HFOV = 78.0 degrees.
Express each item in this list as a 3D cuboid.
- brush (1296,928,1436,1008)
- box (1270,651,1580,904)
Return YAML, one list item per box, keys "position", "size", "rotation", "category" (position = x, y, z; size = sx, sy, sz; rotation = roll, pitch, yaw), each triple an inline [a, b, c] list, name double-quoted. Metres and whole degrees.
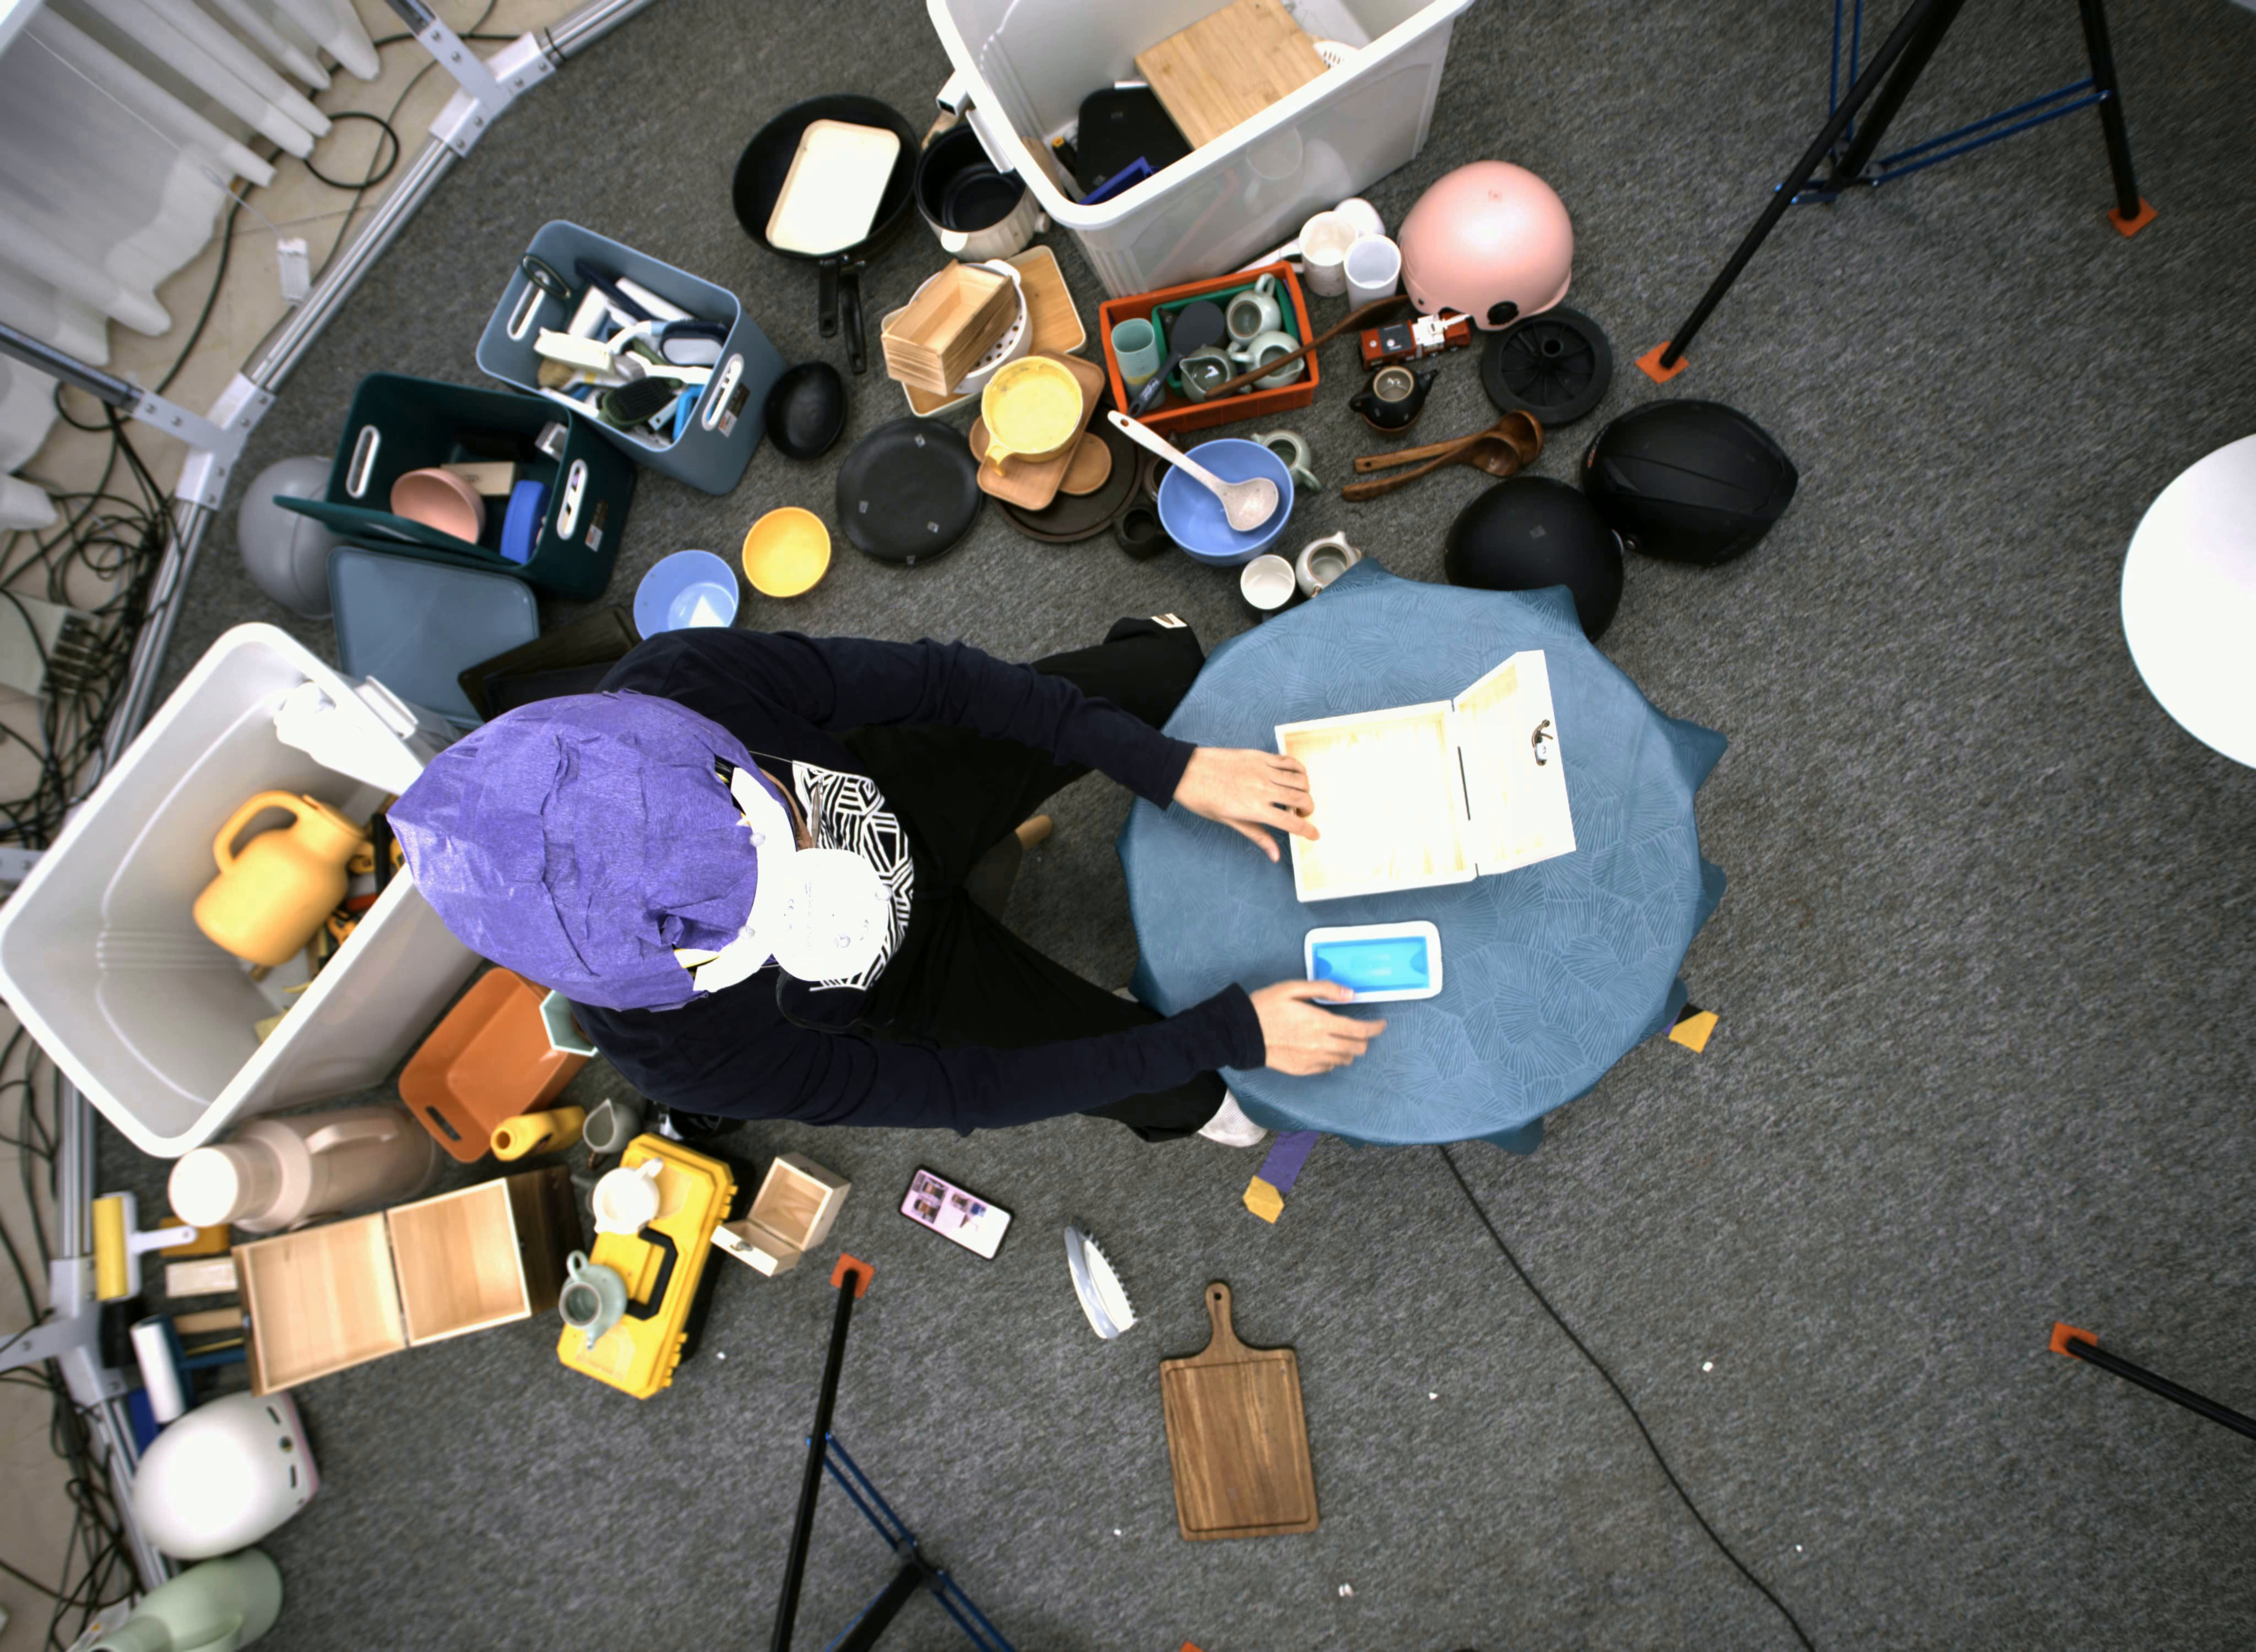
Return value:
- position: [0.246, 0.143, 1.429]
  size: [0.144, 0.056, 0.083]
  rotation: [-3, 82, 8]
  category: "brush"
- position: [0.271, -0.036, 1.334]
  size: [0.266, 0.253, 0.181]
  rotation: [-9, 84, 9]
  category: "box"
